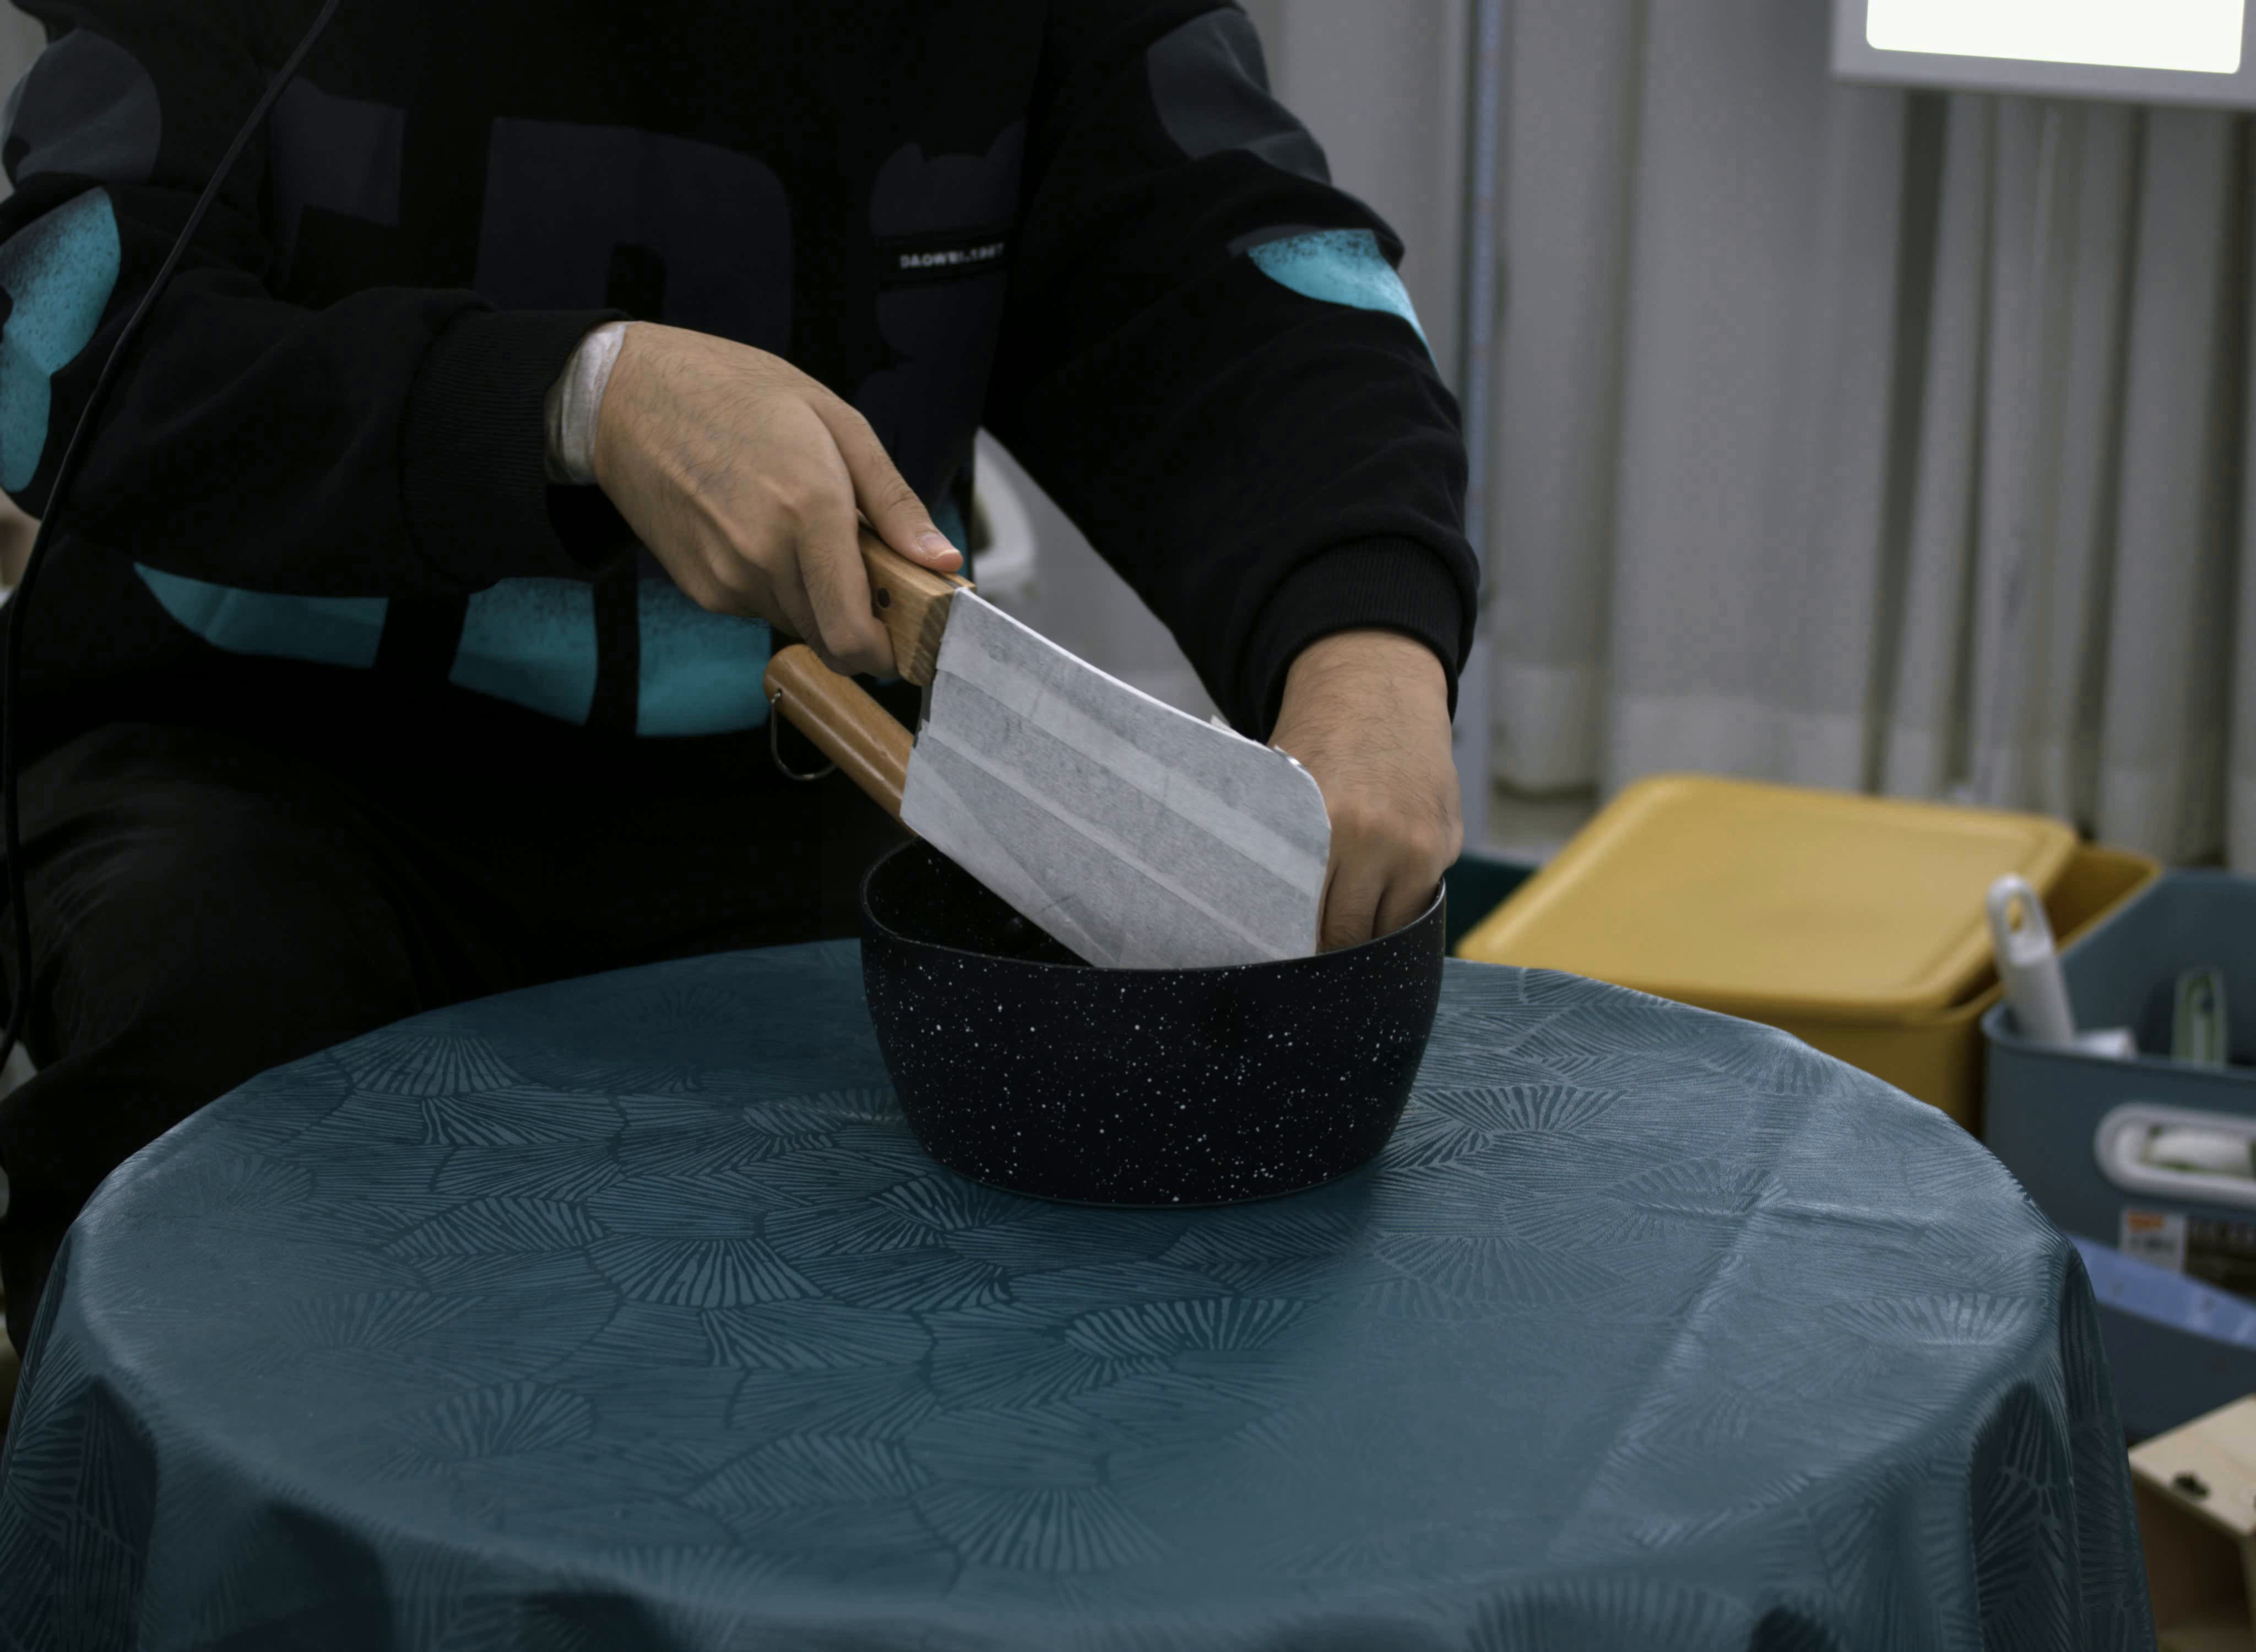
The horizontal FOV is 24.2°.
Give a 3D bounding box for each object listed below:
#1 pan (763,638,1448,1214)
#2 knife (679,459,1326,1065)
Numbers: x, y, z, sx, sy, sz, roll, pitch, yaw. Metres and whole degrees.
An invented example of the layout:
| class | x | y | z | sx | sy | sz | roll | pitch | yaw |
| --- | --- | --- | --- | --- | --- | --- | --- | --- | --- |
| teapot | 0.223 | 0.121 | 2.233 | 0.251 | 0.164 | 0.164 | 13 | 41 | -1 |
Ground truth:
| class | x | y | z | sx | sy | sz | roll | pitch | yaw |
| --- | --- | --- | --- | --- | --- | --- | --- | --- | --- |
| pan | -0.034 | 0.028 | 1.721 | 0.208 | 0.109 | 0.338 | -11 | 20 | -31 |
| knife | -0.042 | -0.036 | 1.663 | 0.022 | 0.115 | 0.311 | -11 | 37 | -43 |
